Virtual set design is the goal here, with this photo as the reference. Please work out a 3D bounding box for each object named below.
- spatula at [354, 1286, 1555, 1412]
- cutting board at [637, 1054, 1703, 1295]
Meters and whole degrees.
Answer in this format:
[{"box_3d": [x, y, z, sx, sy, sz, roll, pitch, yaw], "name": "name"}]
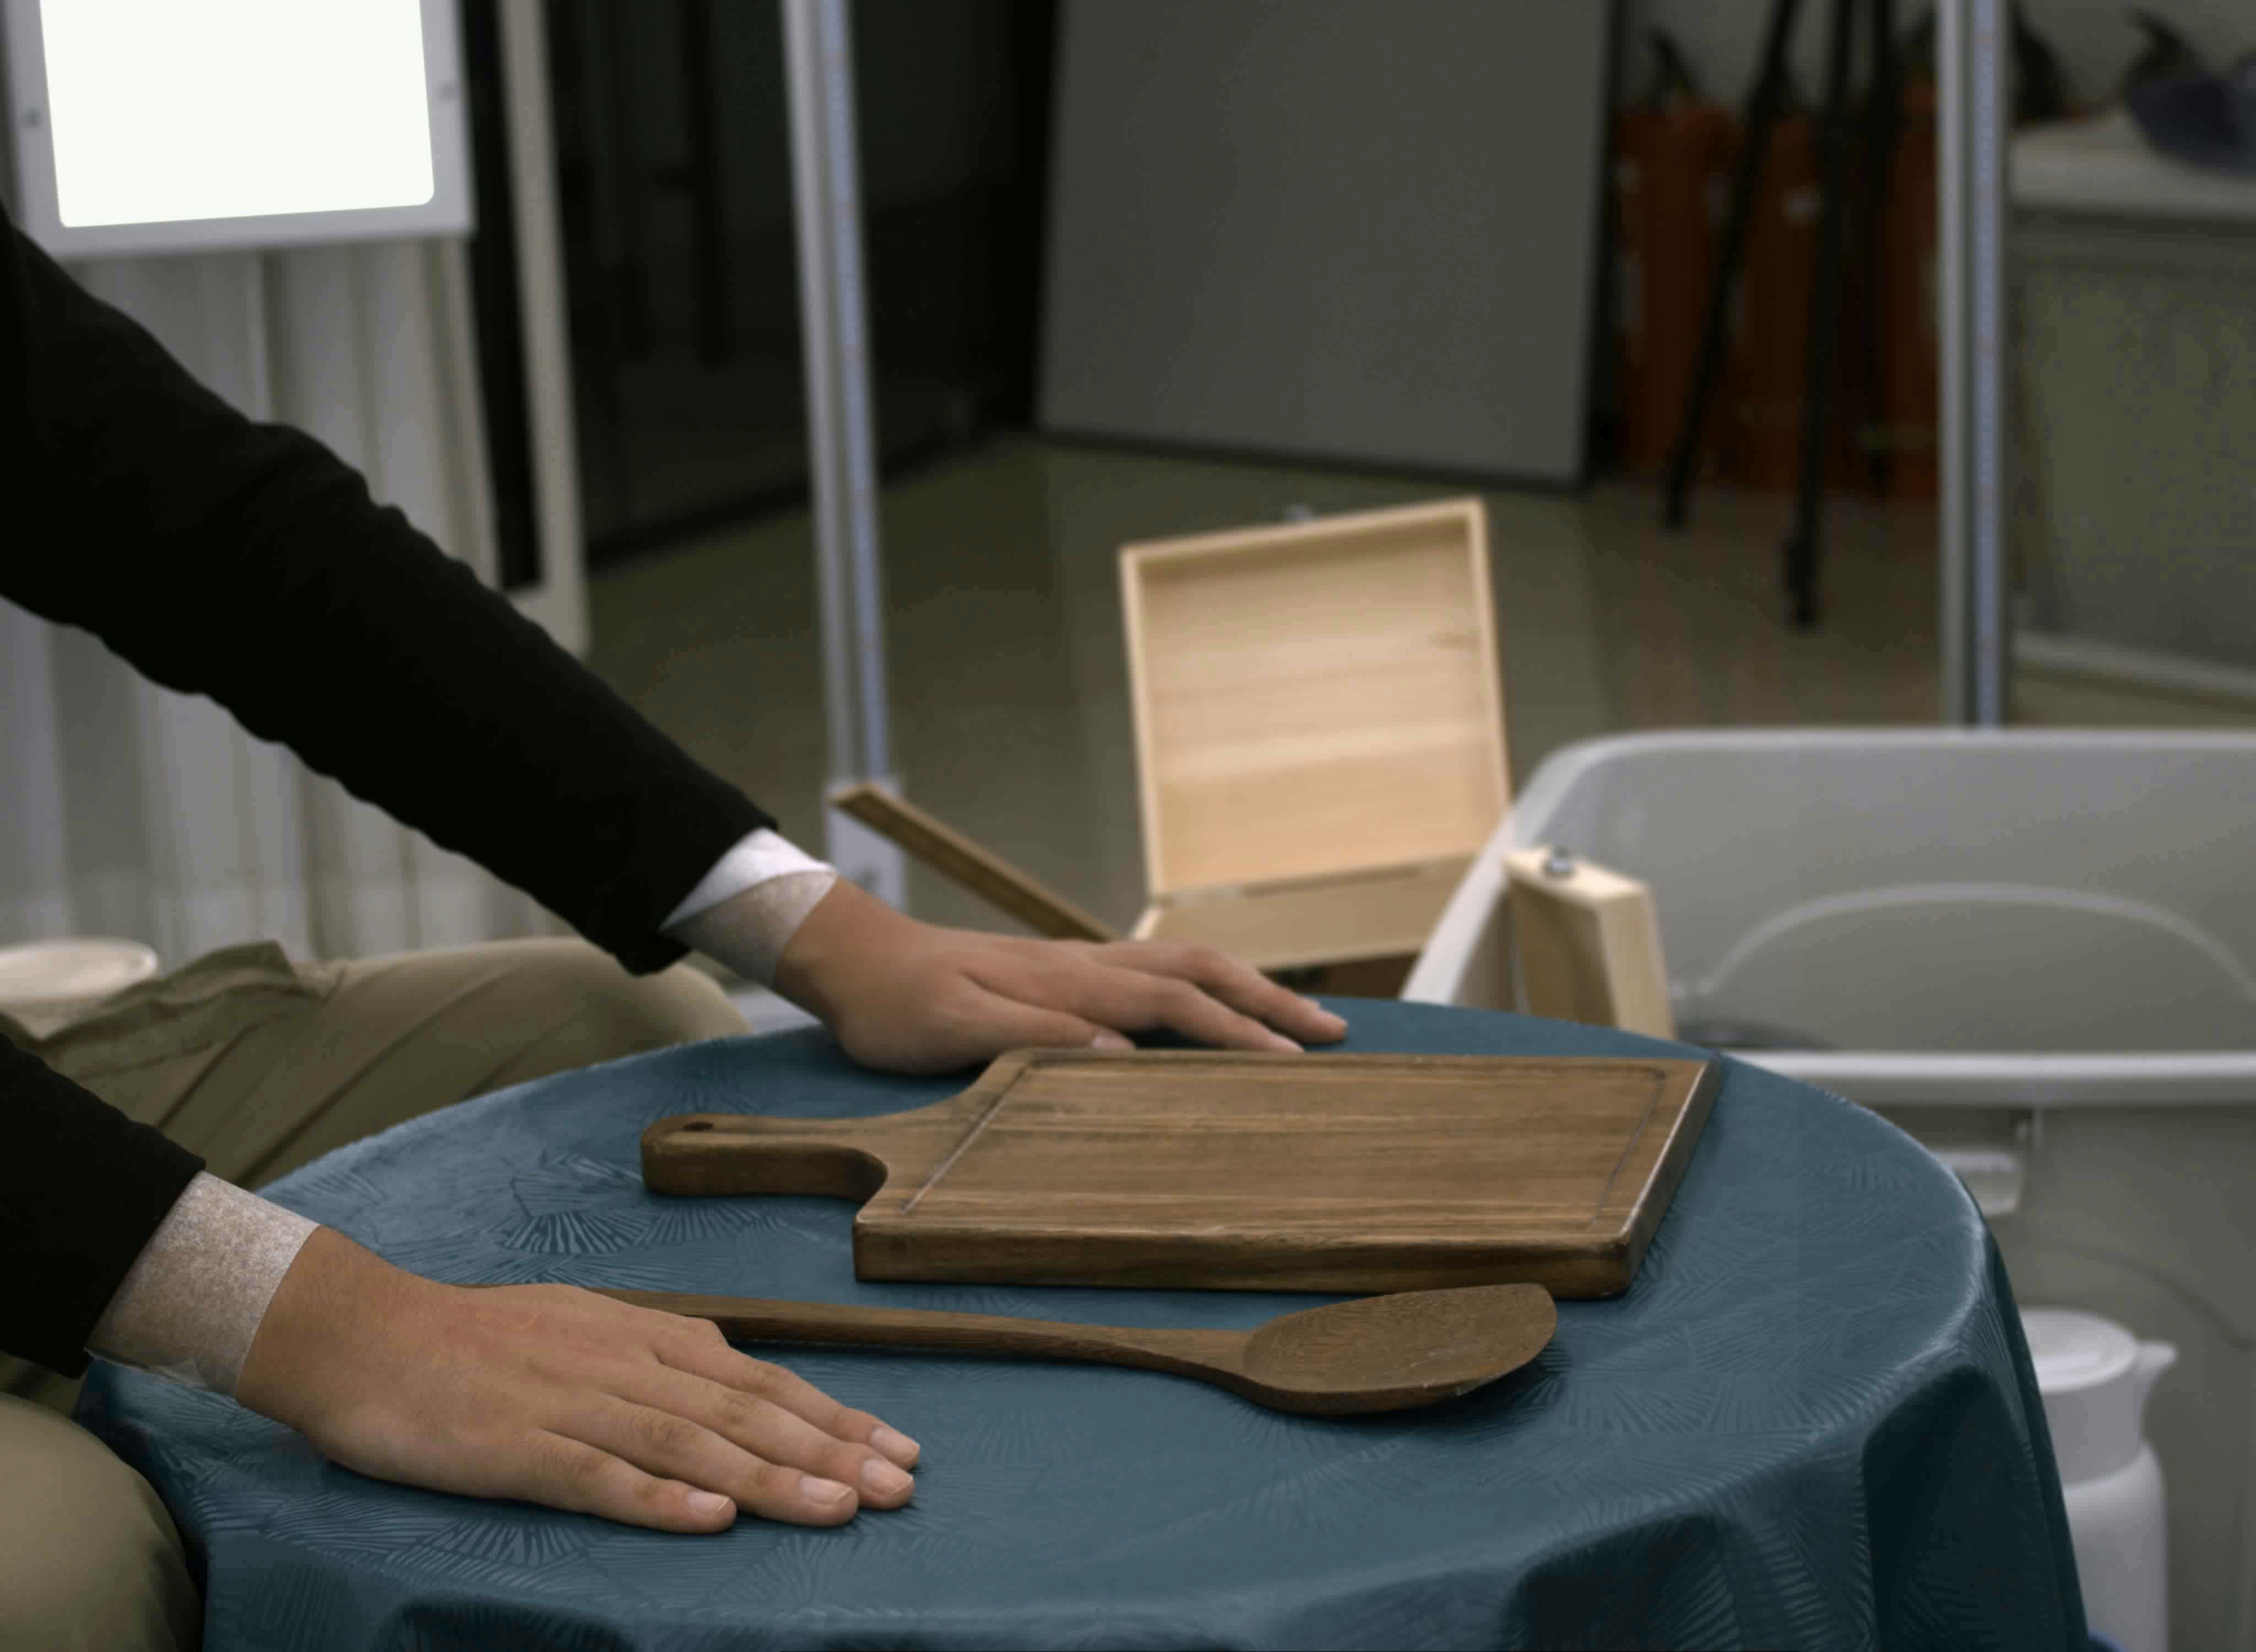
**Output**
[{"box_3d": [-0.059, 0.153, 1.628, 0.385, 0.016, 0.095, 0, 14, 19], "name": "spatula"}, {"box_3d": [0.006, 0.111, 1.766, 0.350, 0.023, 0.199, 0, 14, 15], "name": "cutting board"}]
